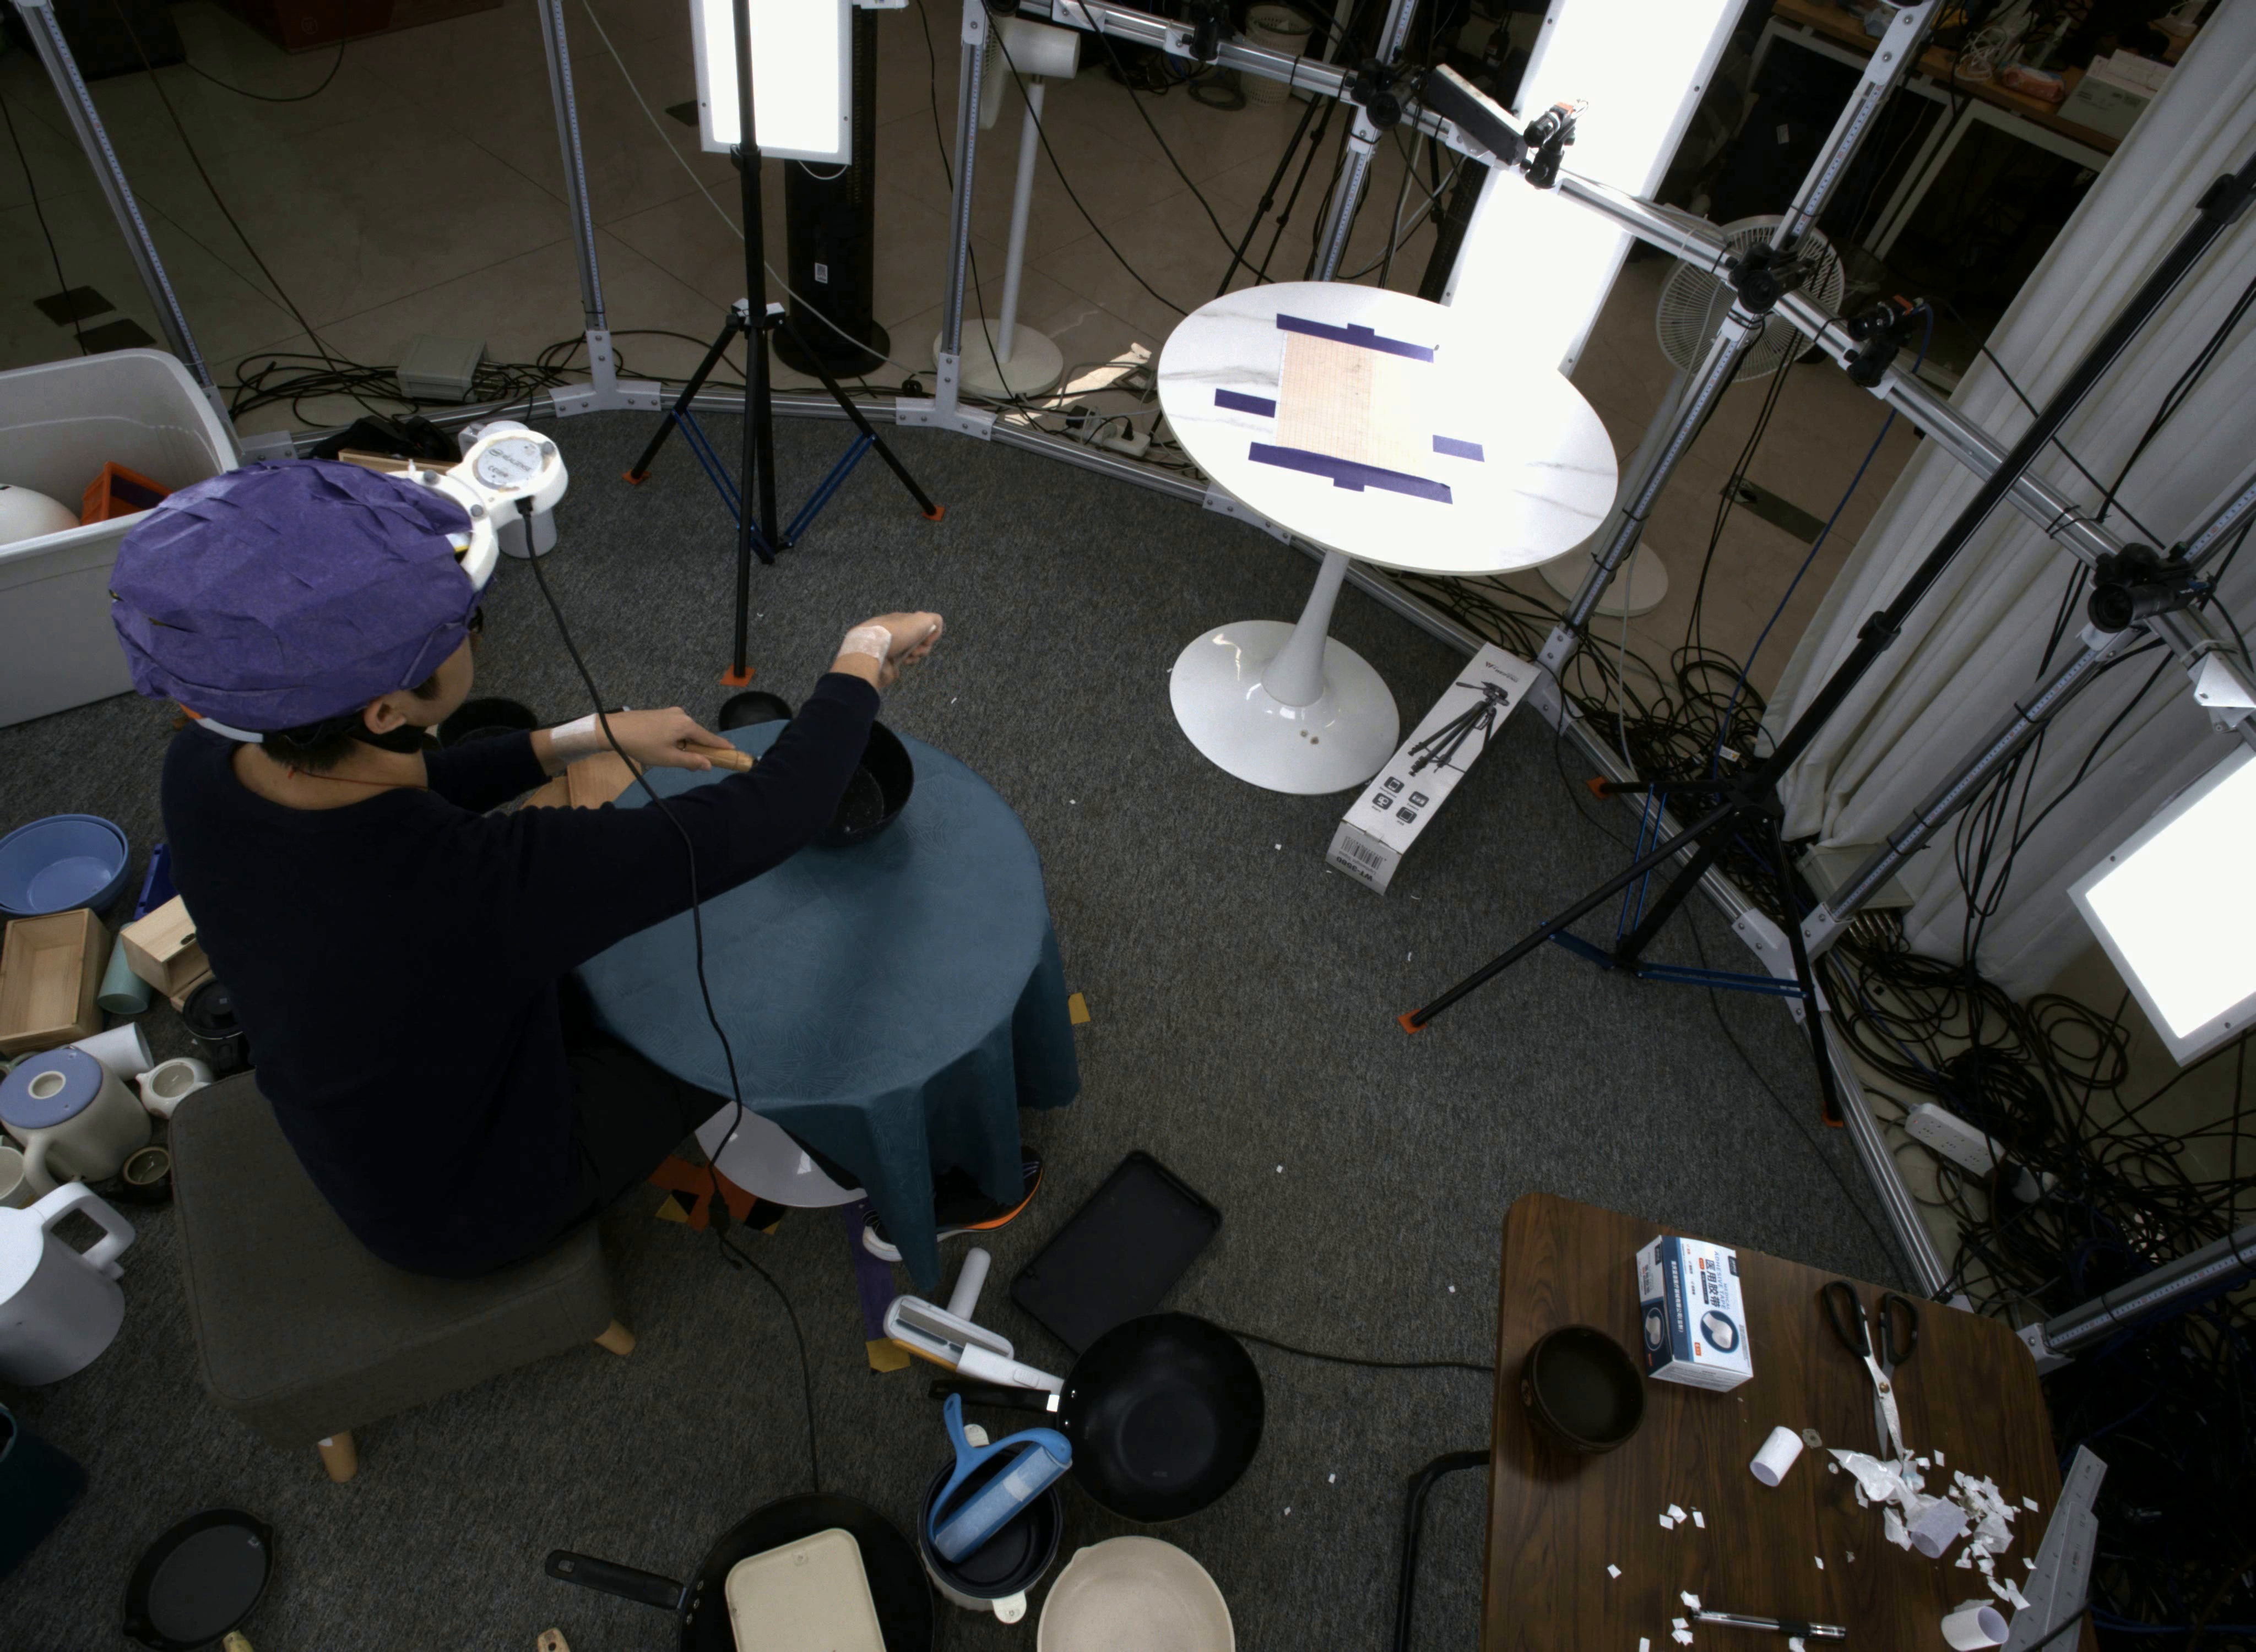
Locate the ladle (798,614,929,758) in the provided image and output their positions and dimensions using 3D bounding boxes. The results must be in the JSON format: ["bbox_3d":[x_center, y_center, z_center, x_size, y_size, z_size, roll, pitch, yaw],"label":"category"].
[{"bbox_3d":[-0.332,-0.185,1.612,0.070,0.275,0.088,35,40,-7],"label":"ladle"}]

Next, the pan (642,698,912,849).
[{"bbox_3d":[-0.449,-0.069,1.647,0.348,0.108,0.204,4,60,-29],"label":"pan"}]
